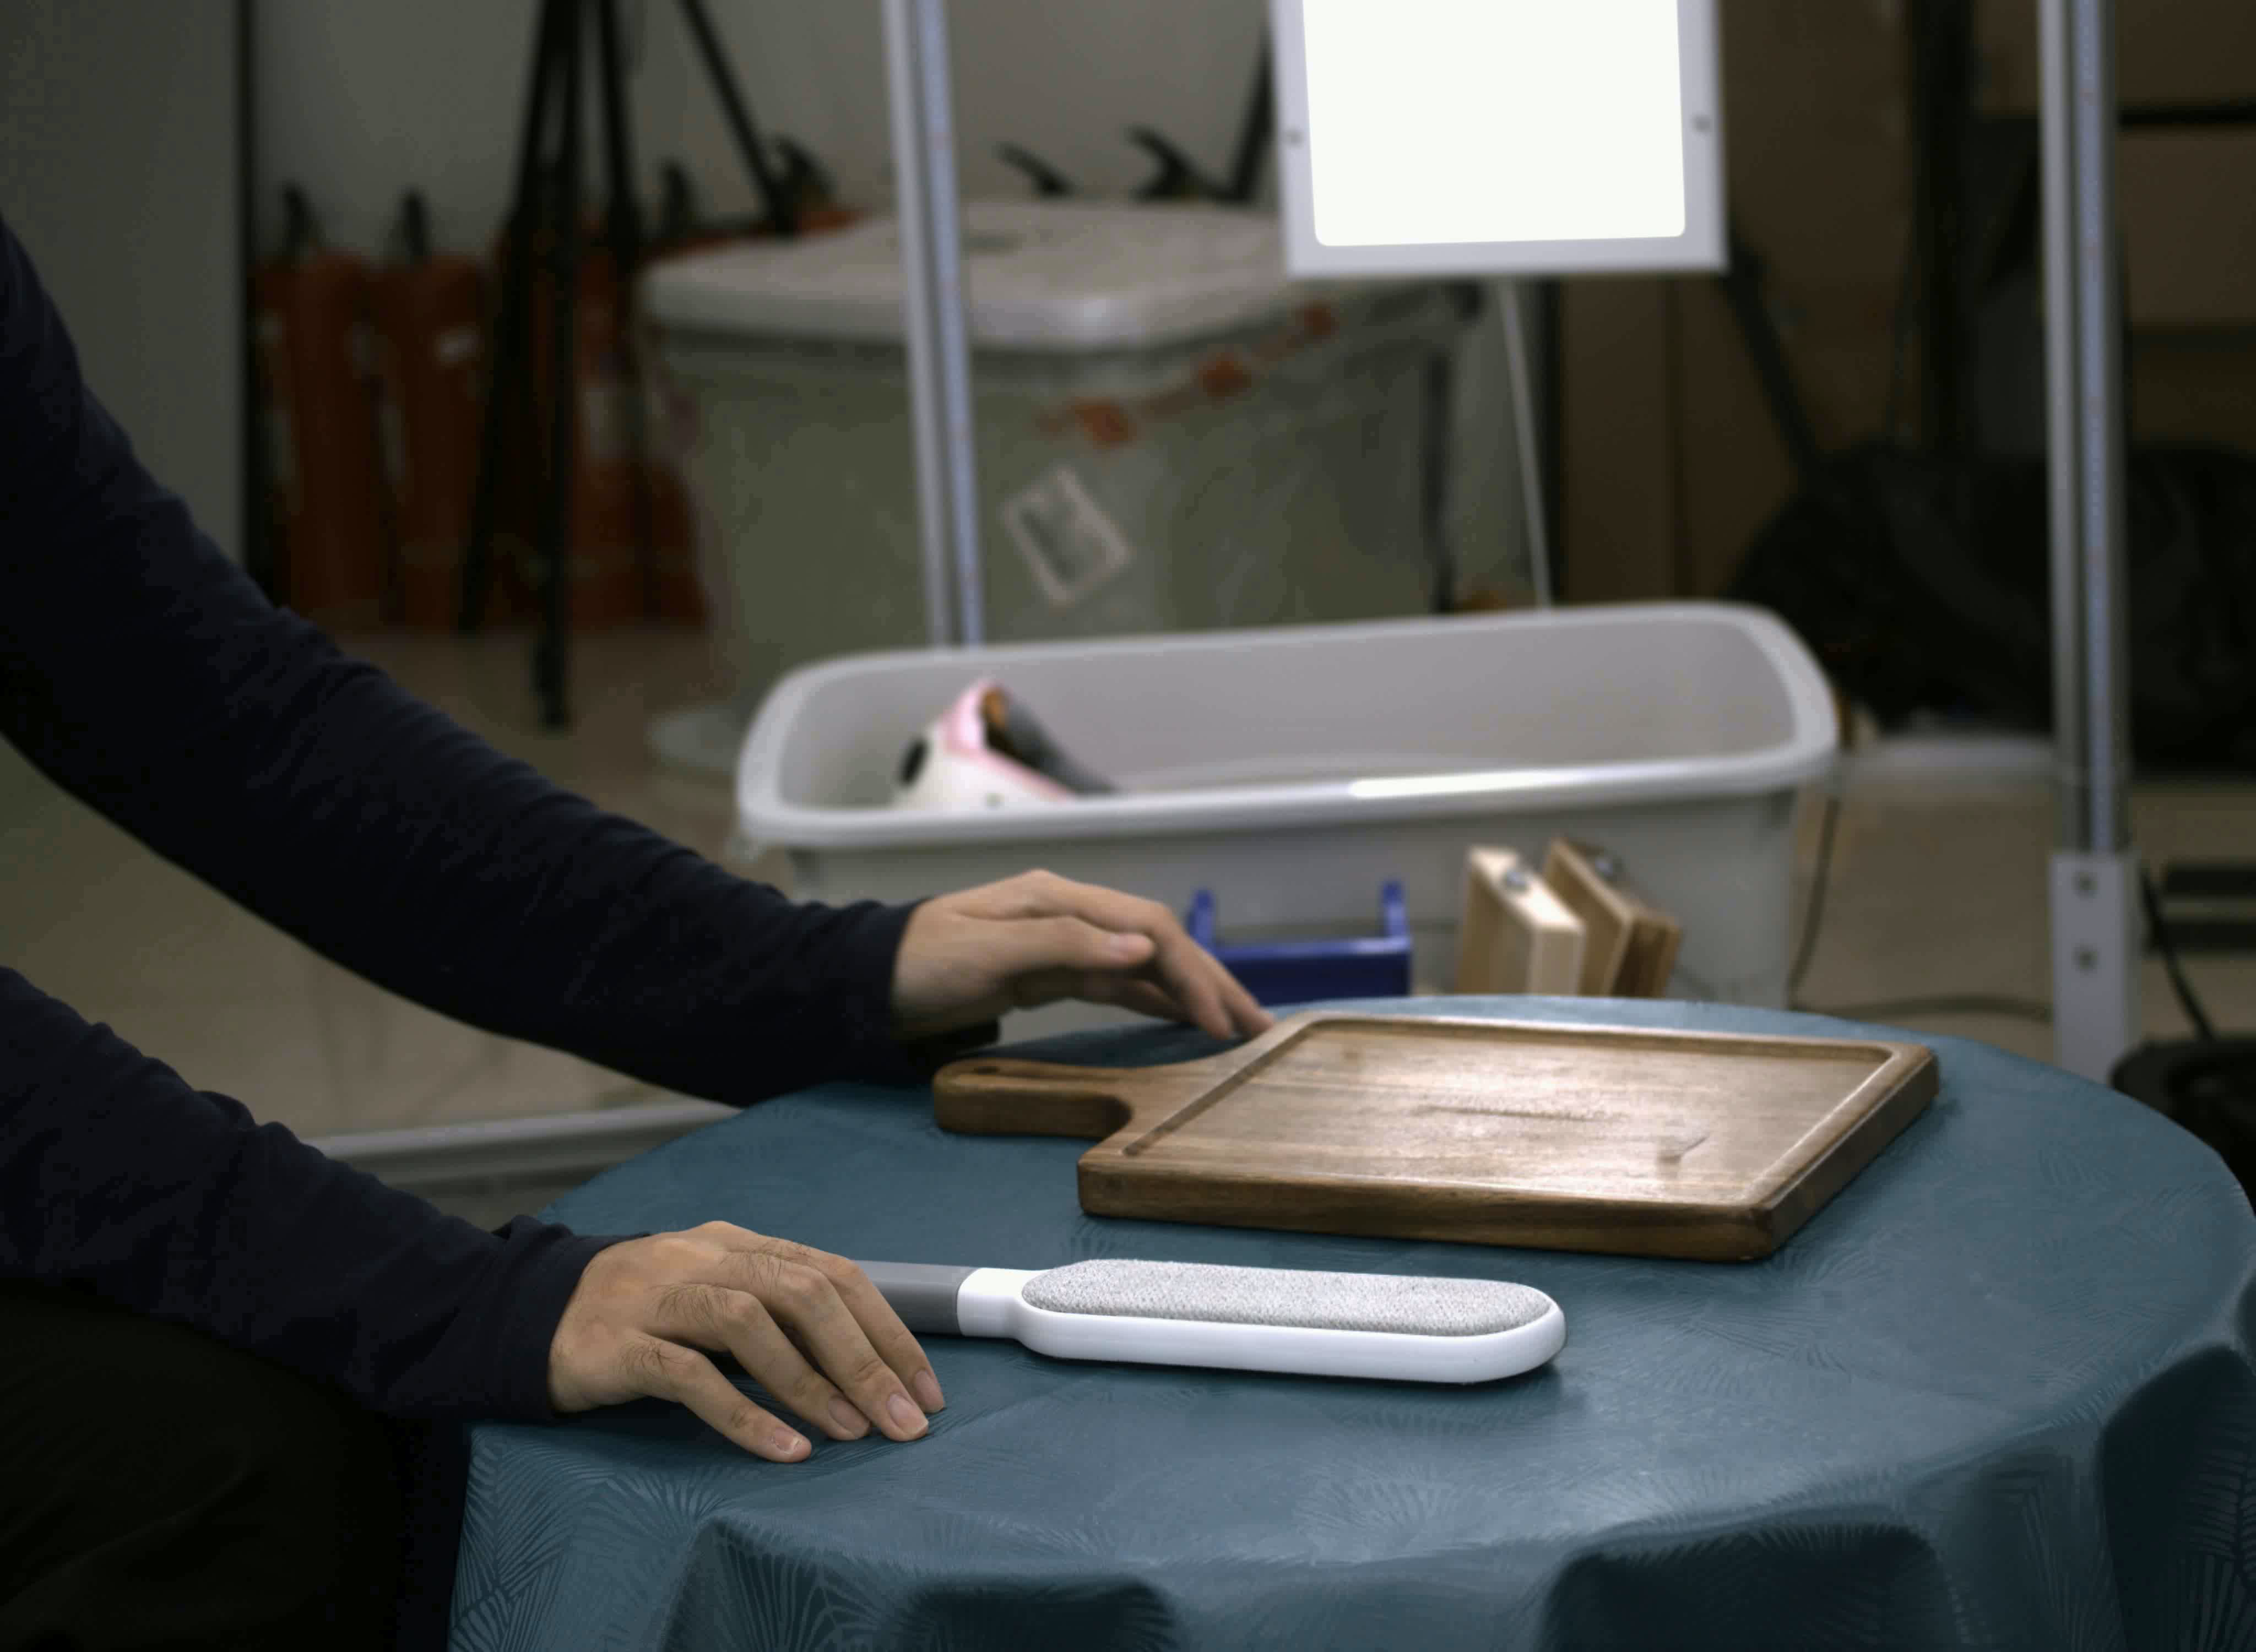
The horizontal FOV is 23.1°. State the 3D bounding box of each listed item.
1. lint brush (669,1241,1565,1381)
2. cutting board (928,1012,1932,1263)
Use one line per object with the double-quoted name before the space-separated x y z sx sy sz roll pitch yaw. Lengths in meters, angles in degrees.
"lint brush" -0.009 0.150 1.752 0.314 0.021 0.059 1 21 26
"cutting board" 0.089 0.103 1.926 0.358 0.023 0.197 2 15 28
